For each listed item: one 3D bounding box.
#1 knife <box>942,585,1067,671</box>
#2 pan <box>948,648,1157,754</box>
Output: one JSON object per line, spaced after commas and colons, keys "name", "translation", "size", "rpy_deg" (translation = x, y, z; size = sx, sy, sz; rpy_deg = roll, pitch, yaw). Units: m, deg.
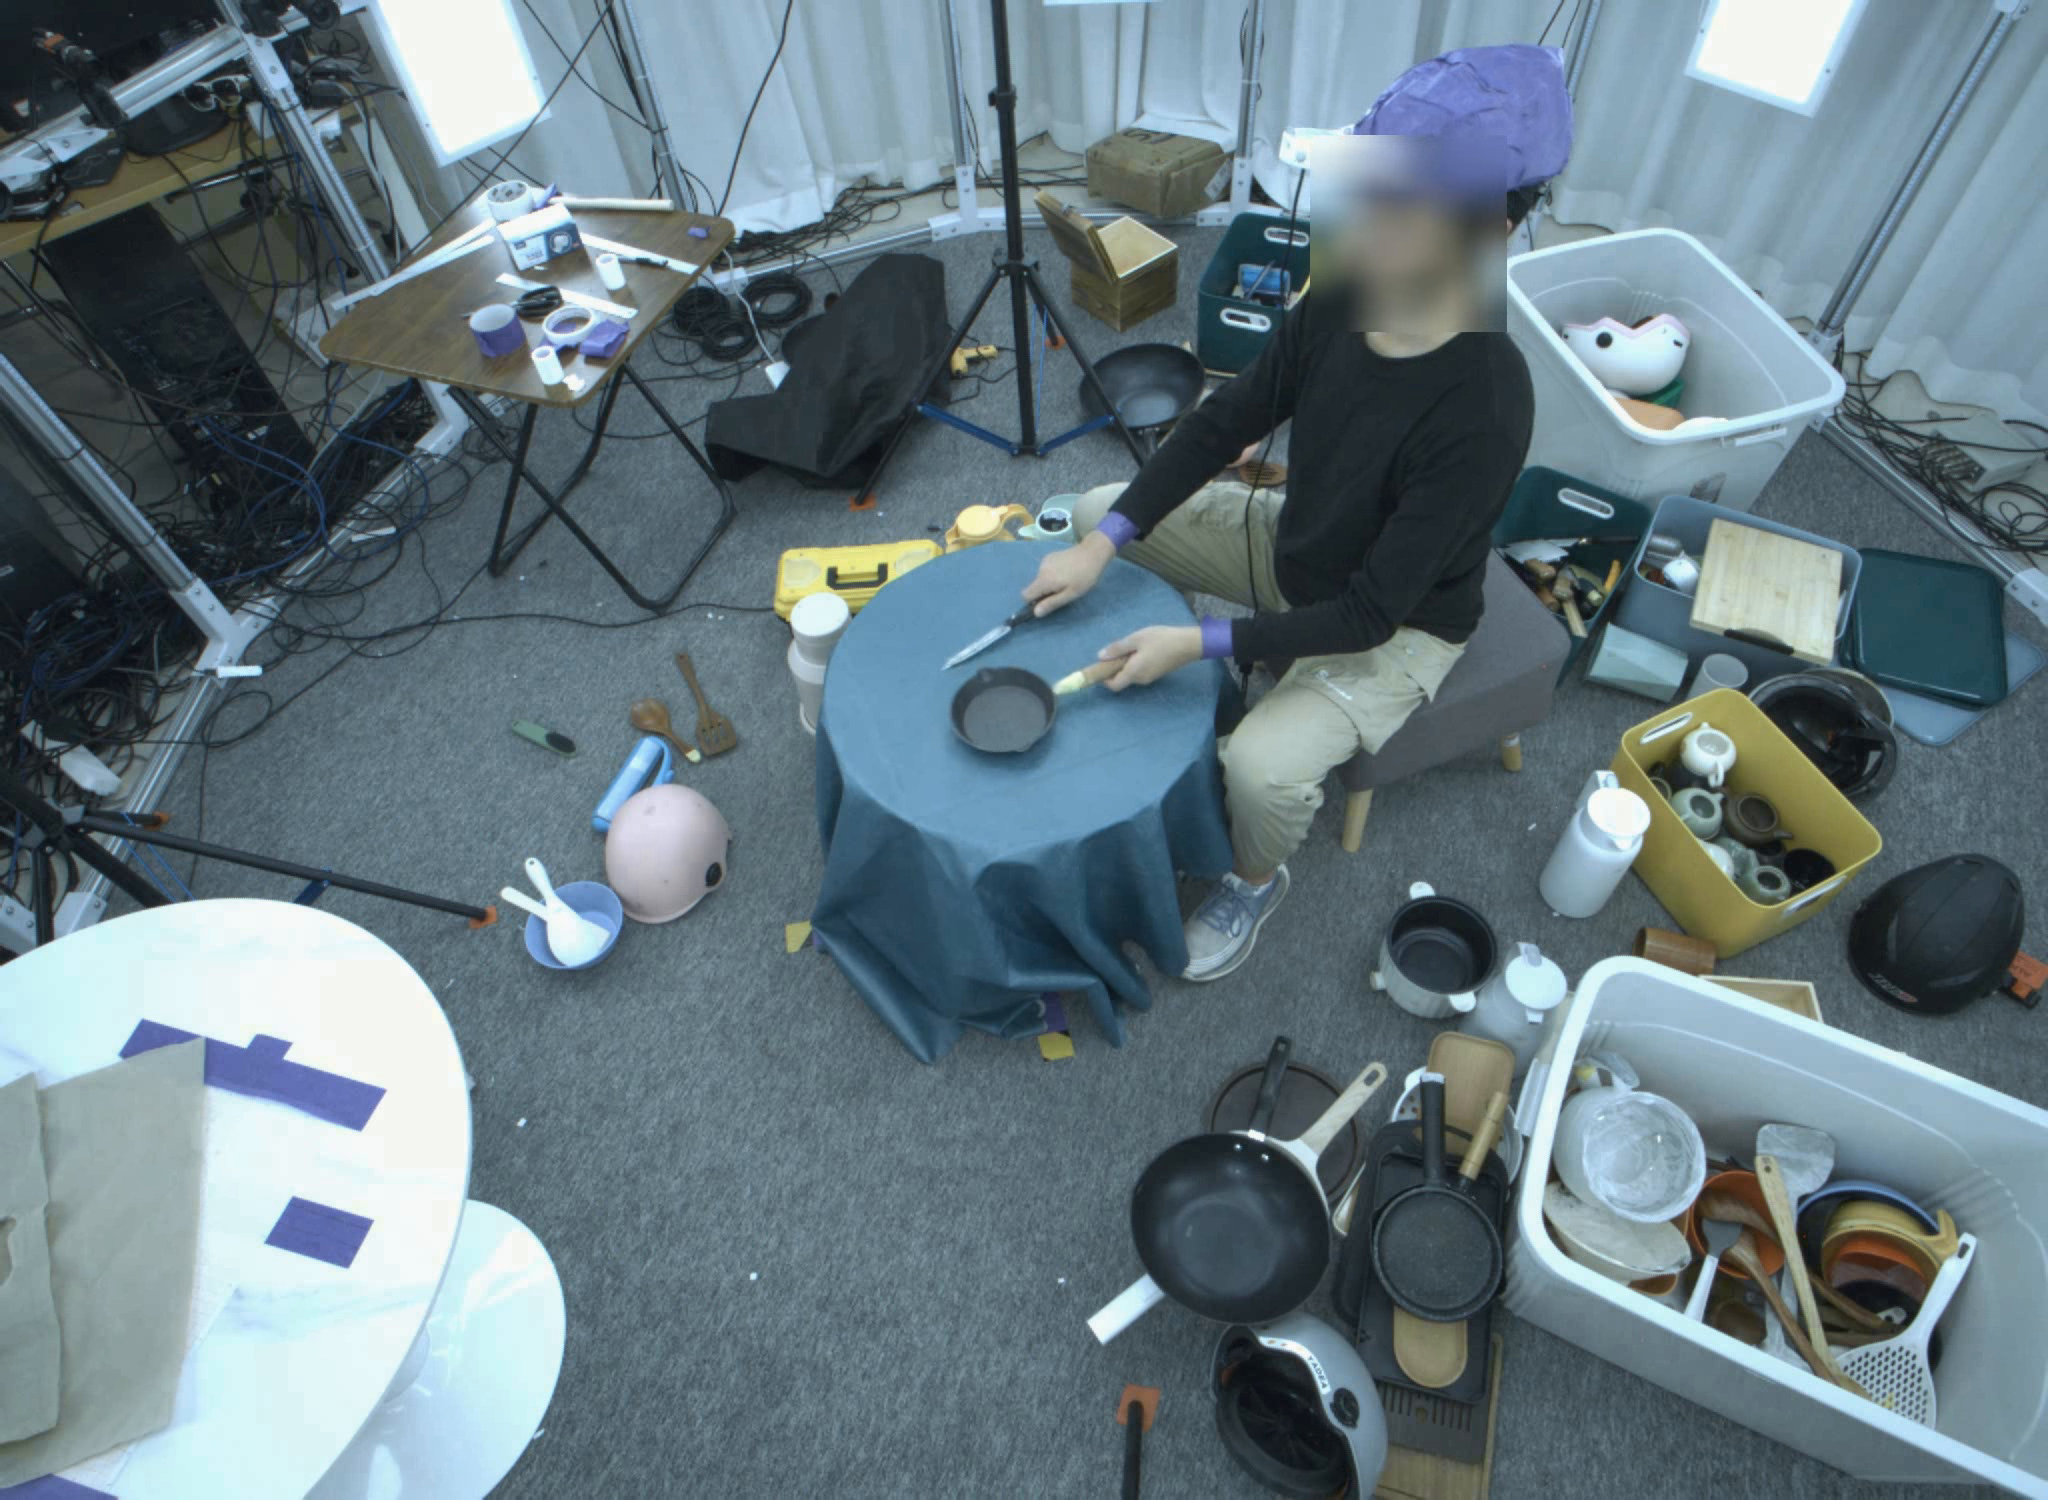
{"name": "knife", "translation": [-0.033, -0.189, 1.902], "size": [0.239, 0.016, 0.024], "rpy_deg": [-35, 48, -13]}
{"name": "pan", "translation": [0.047, -0.086, 1.809], "size": [0.326, 0.050, 0.166], "rpy_deg": [-19, 56, -10]}
